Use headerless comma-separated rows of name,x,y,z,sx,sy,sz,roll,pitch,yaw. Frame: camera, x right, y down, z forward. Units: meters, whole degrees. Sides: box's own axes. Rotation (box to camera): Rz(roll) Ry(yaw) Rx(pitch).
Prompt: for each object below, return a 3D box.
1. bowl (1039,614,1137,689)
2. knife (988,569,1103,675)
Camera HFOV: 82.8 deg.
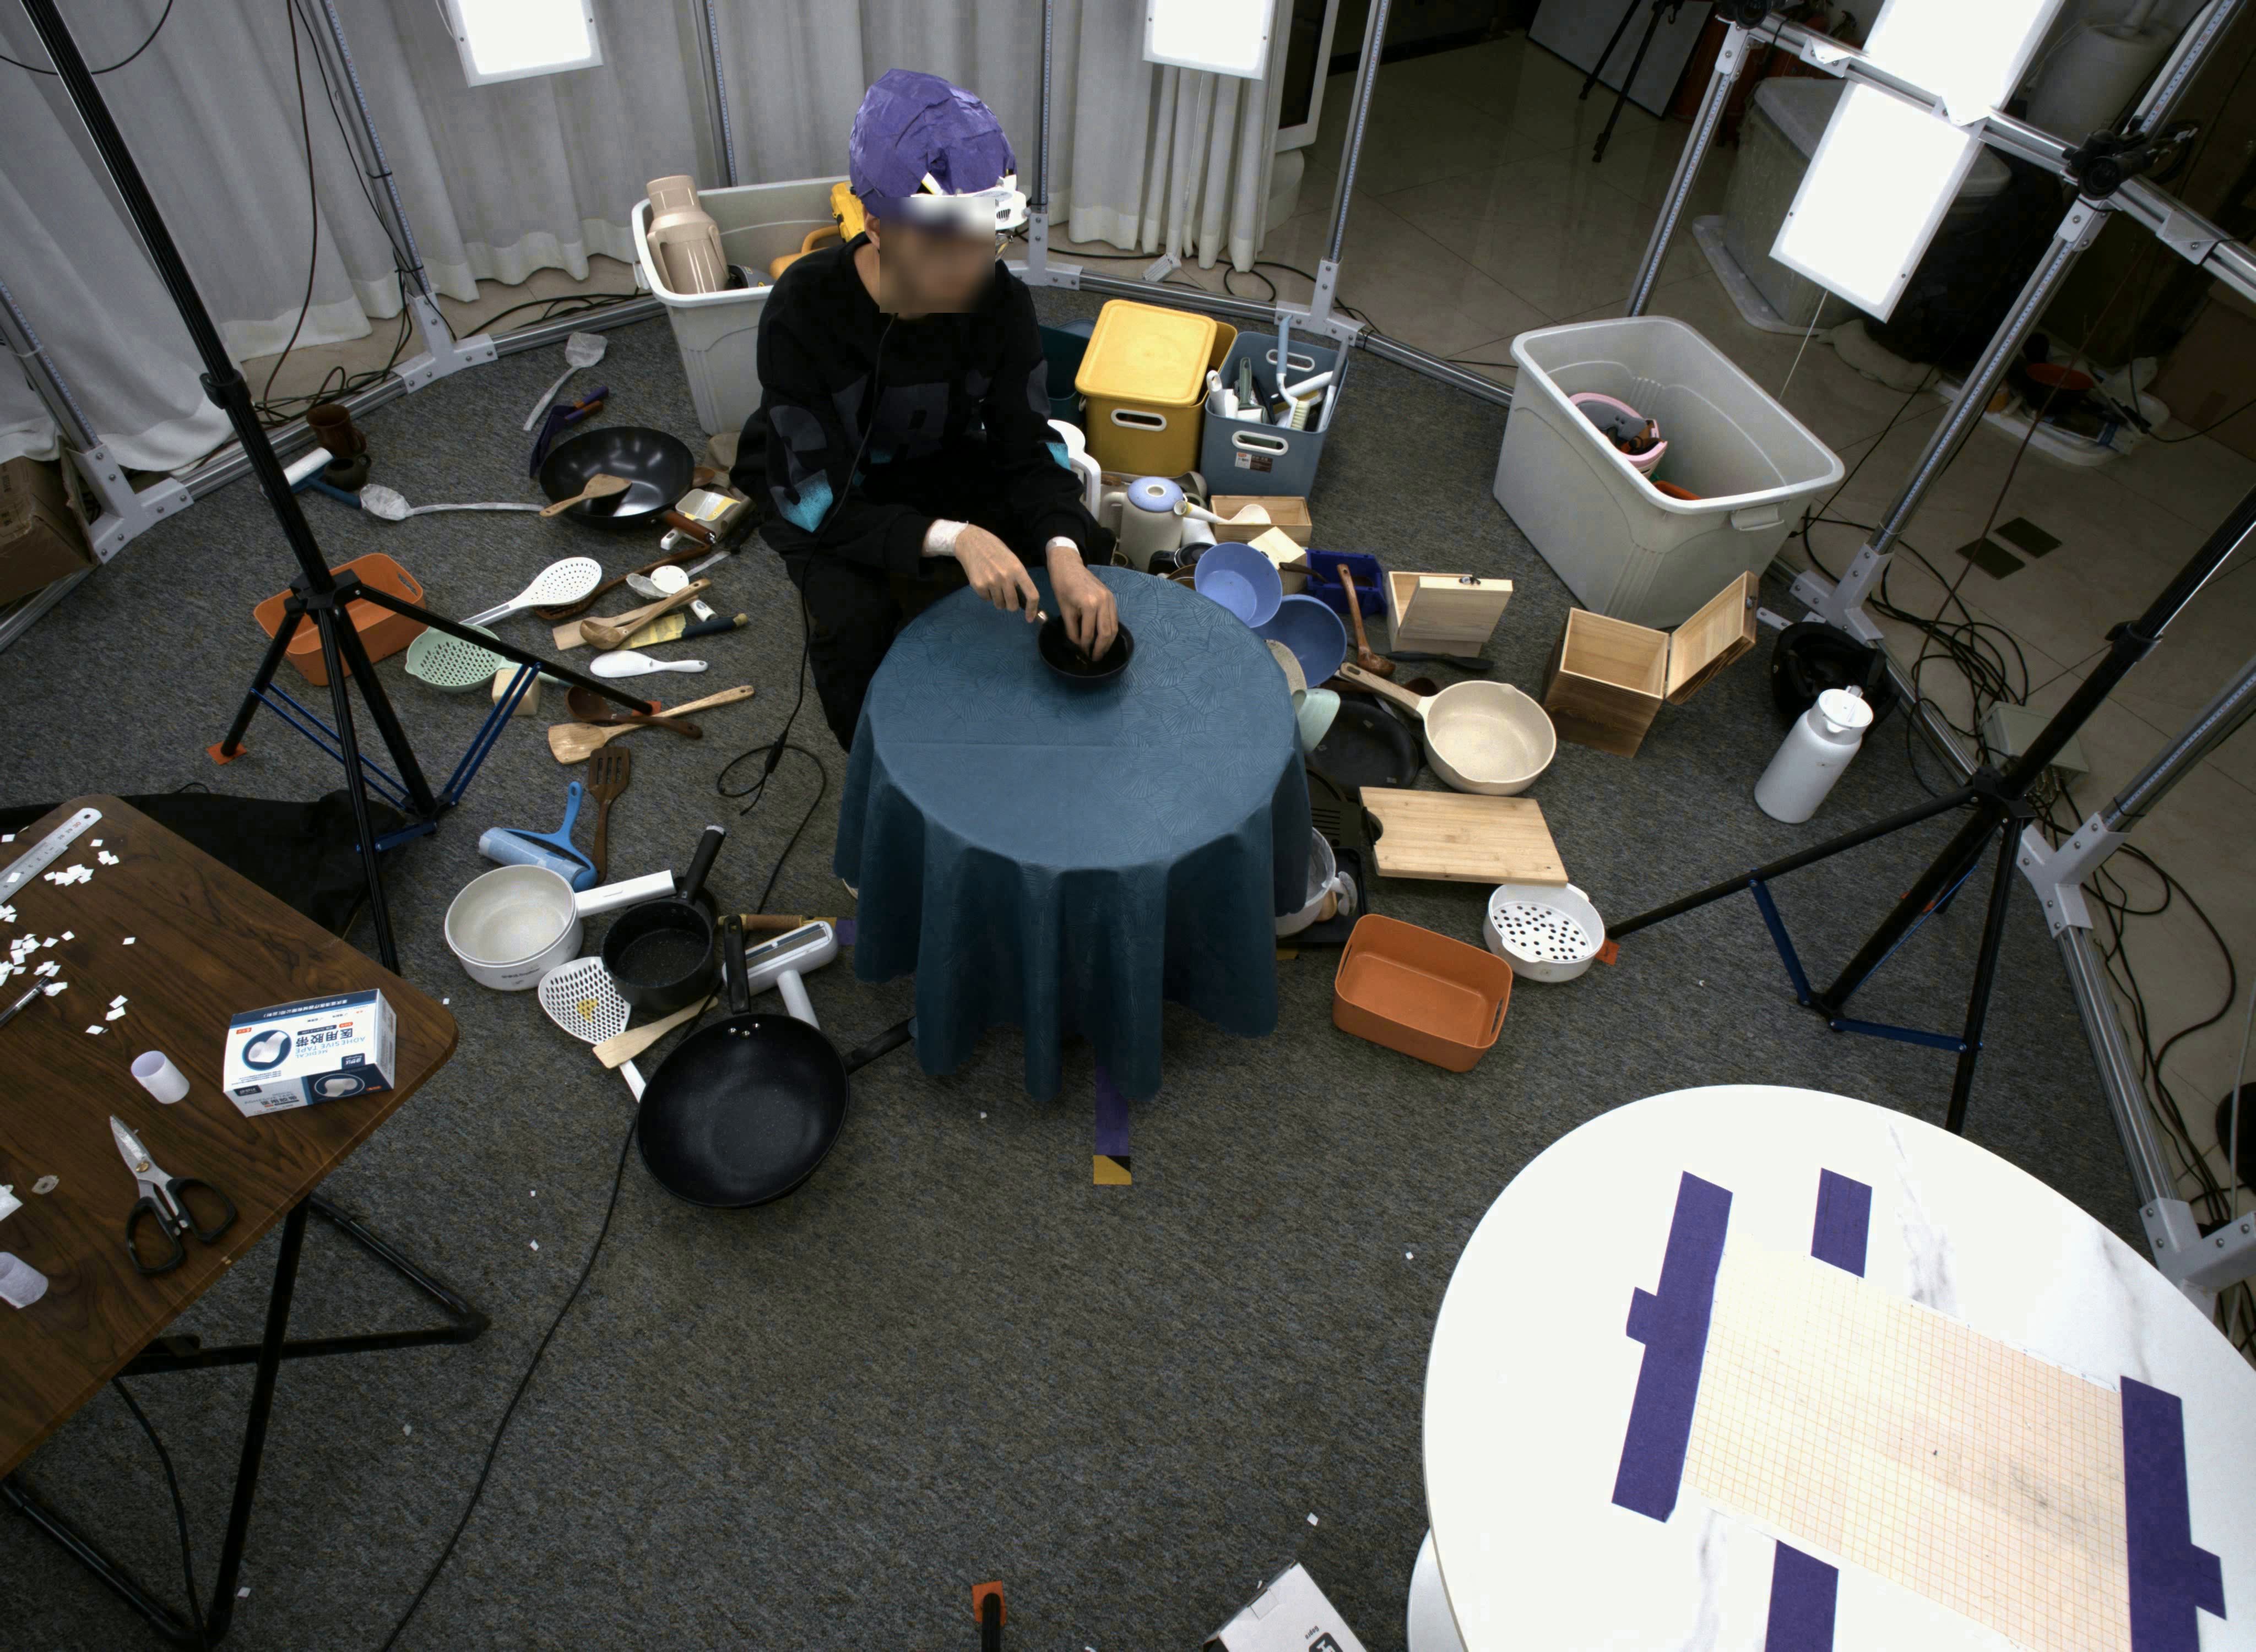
bowl,-0.057,-0.243,1.848,0.140,0.048,0.143,-1,47,0
knife,-0.111,-0.287,1.834,0.224,0.026,0.017,41,62,-8
